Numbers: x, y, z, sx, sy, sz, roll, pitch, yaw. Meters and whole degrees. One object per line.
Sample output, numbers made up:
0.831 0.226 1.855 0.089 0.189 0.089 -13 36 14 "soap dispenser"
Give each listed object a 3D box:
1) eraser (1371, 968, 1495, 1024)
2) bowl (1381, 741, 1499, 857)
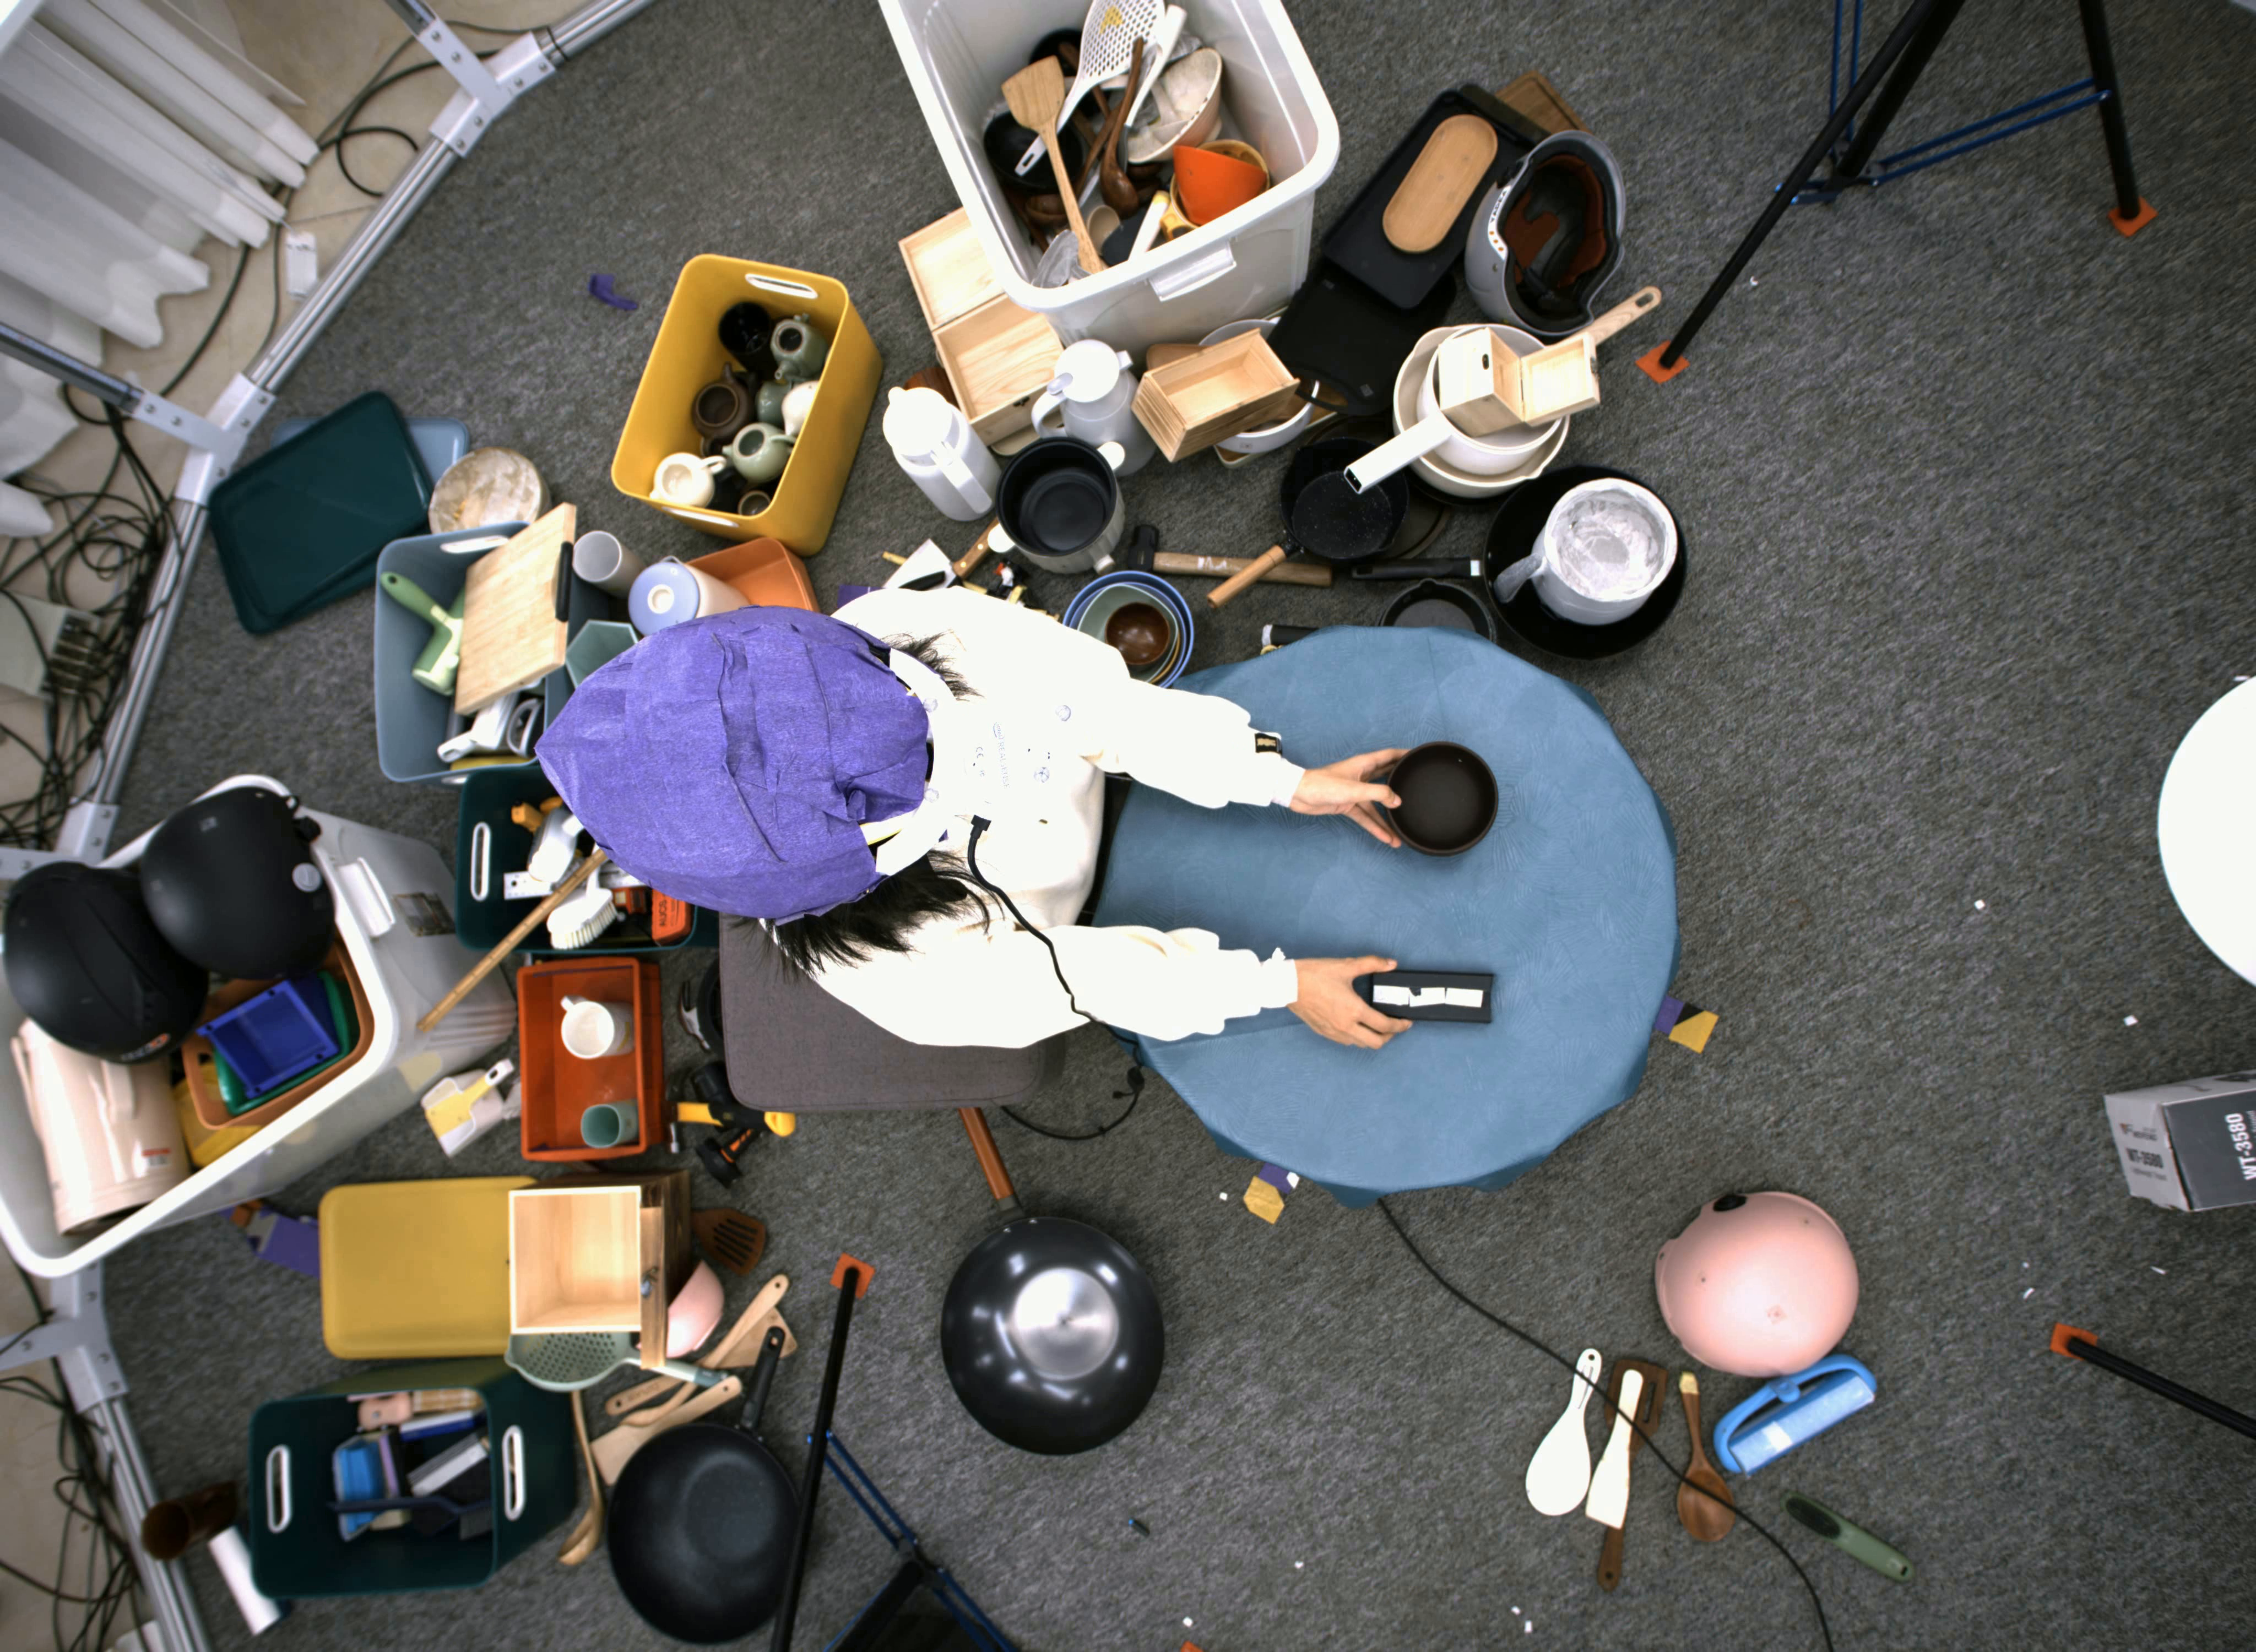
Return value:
0.316 0.175 1.433 0.126 0.030 0.053 1 85 13 "eraser"
0.321 -0.027 1.420 0.118 0.070 0.117 -1 86 11 "bowl"
